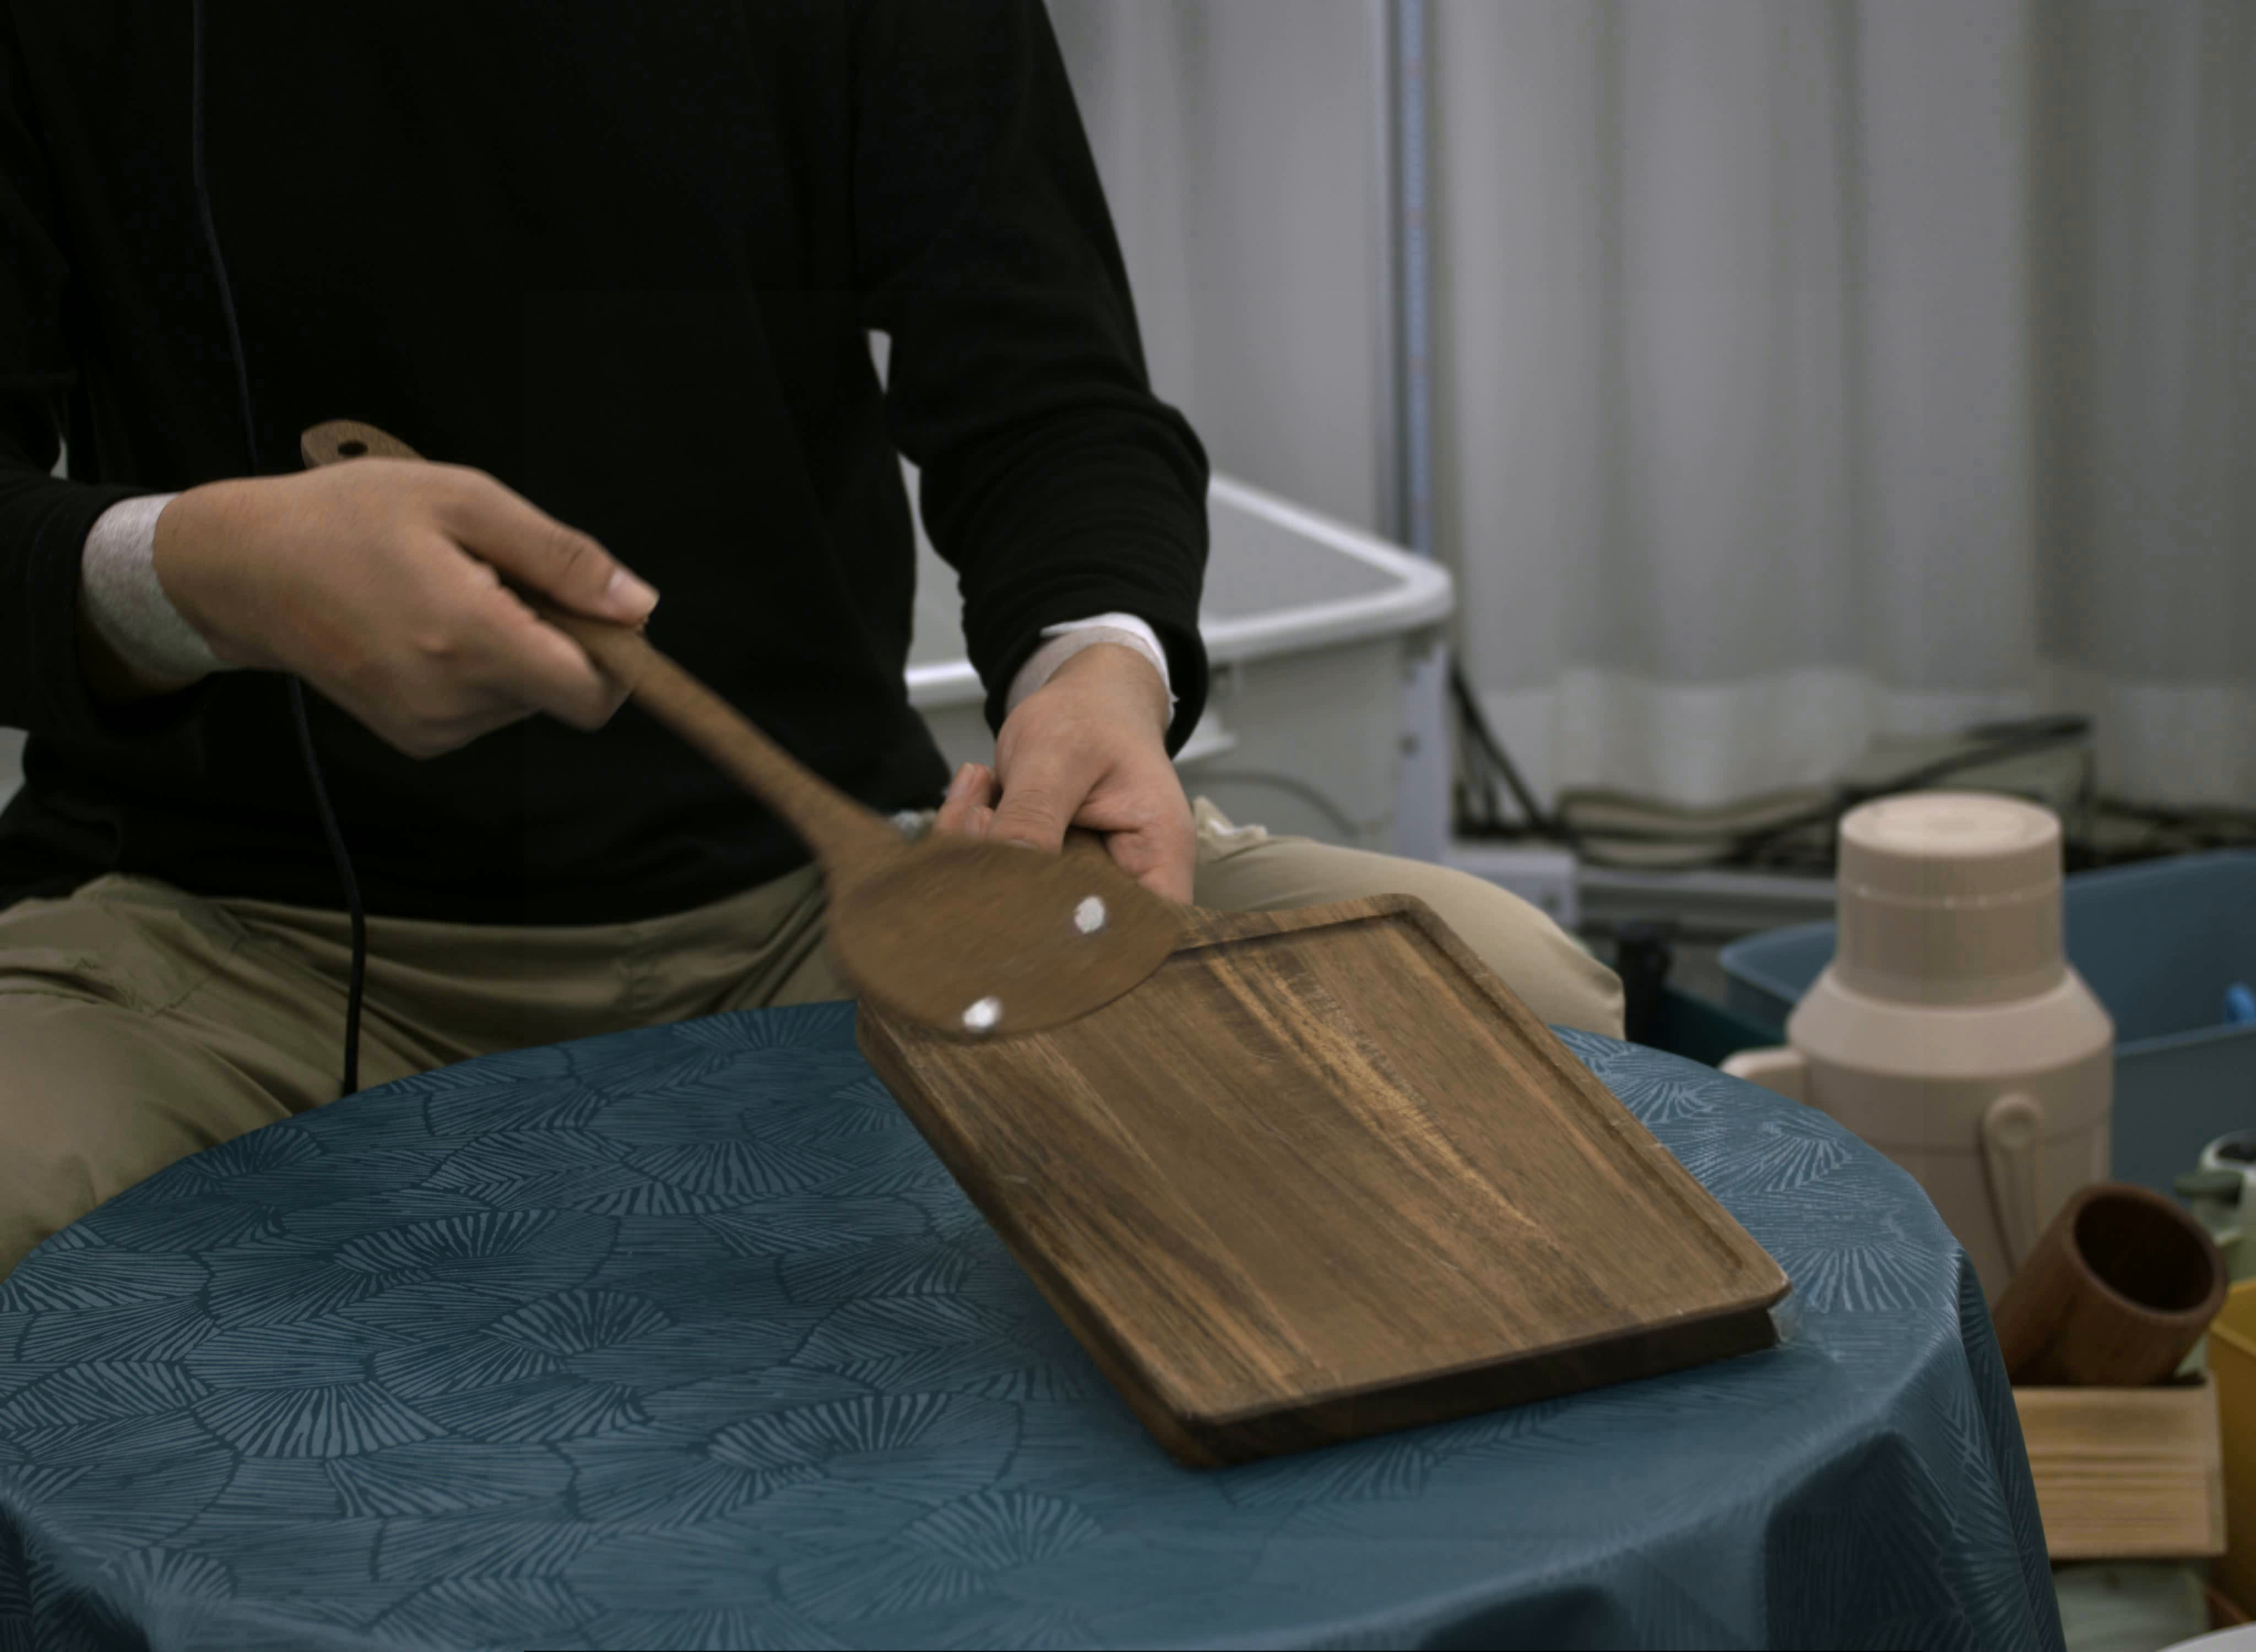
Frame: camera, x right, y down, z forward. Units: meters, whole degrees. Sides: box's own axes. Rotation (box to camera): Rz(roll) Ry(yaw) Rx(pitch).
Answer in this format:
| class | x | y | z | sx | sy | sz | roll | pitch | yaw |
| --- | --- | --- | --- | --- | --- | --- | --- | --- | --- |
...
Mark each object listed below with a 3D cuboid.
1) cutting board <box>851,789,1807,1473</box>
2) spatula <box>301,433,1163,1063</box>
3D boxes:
| class | x | y | z | sx | sy | sz | roll | pitch | yaw |
| --- | --- | --- | --- | --- | --- | --- | --- | --- | --- |
| cutting board | 0.034 | 0.075 | 1.650 | 0.200 | 0.023 | 0.356 | -9 | 30 | -23 |
| spatula | -0.139 | -0.034 | 1.650 | 0.096 | 0.015 | 0.390 | -25 | 45 | -31 |
